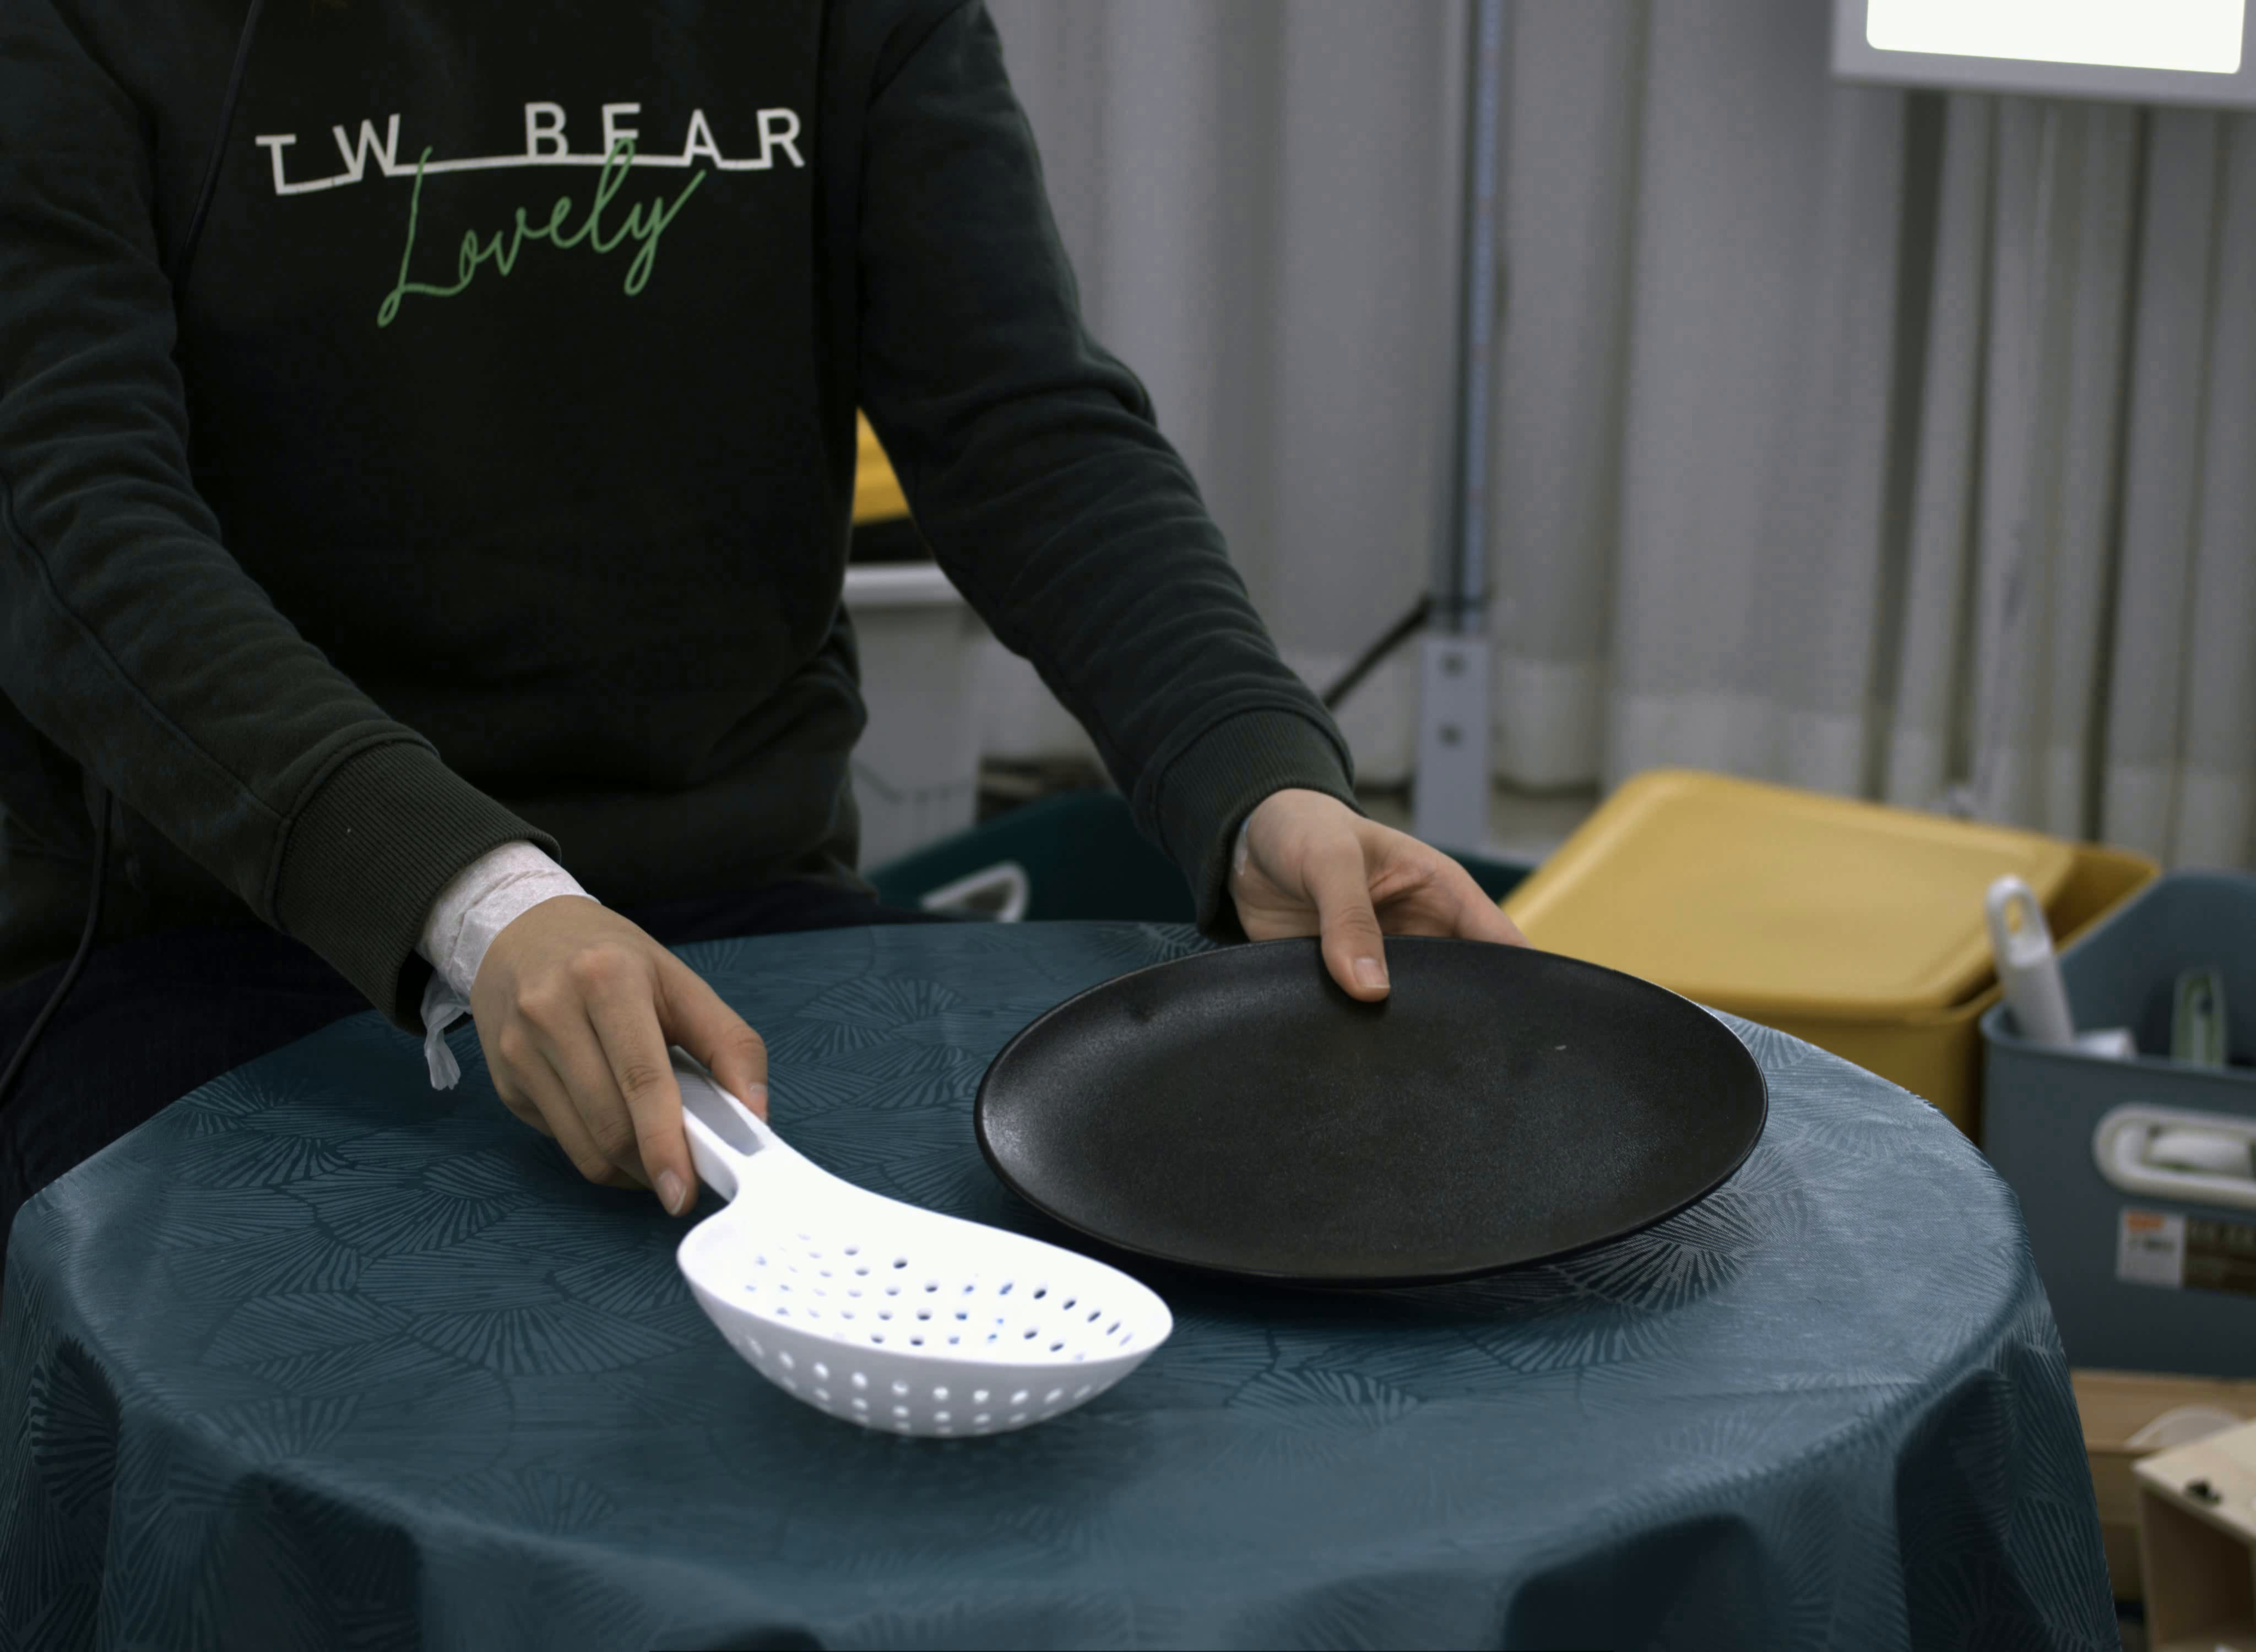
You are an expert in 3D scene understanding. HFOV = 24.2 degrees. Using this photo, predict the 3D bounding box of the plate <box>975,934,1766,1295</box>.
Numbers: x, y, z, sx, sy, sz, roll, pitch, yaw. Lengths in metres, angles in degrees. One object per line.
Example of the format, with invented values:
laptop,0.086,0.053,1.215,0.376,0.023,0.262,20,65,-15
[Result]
plate,0.074,0.091,1.620,0.243,0.023,0.242,-1,23,1

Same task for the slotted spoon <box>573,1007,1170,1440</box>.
slotted spoon,-0.099,0.106,1.526,0.137,0.046,0.345,6,16,-26
